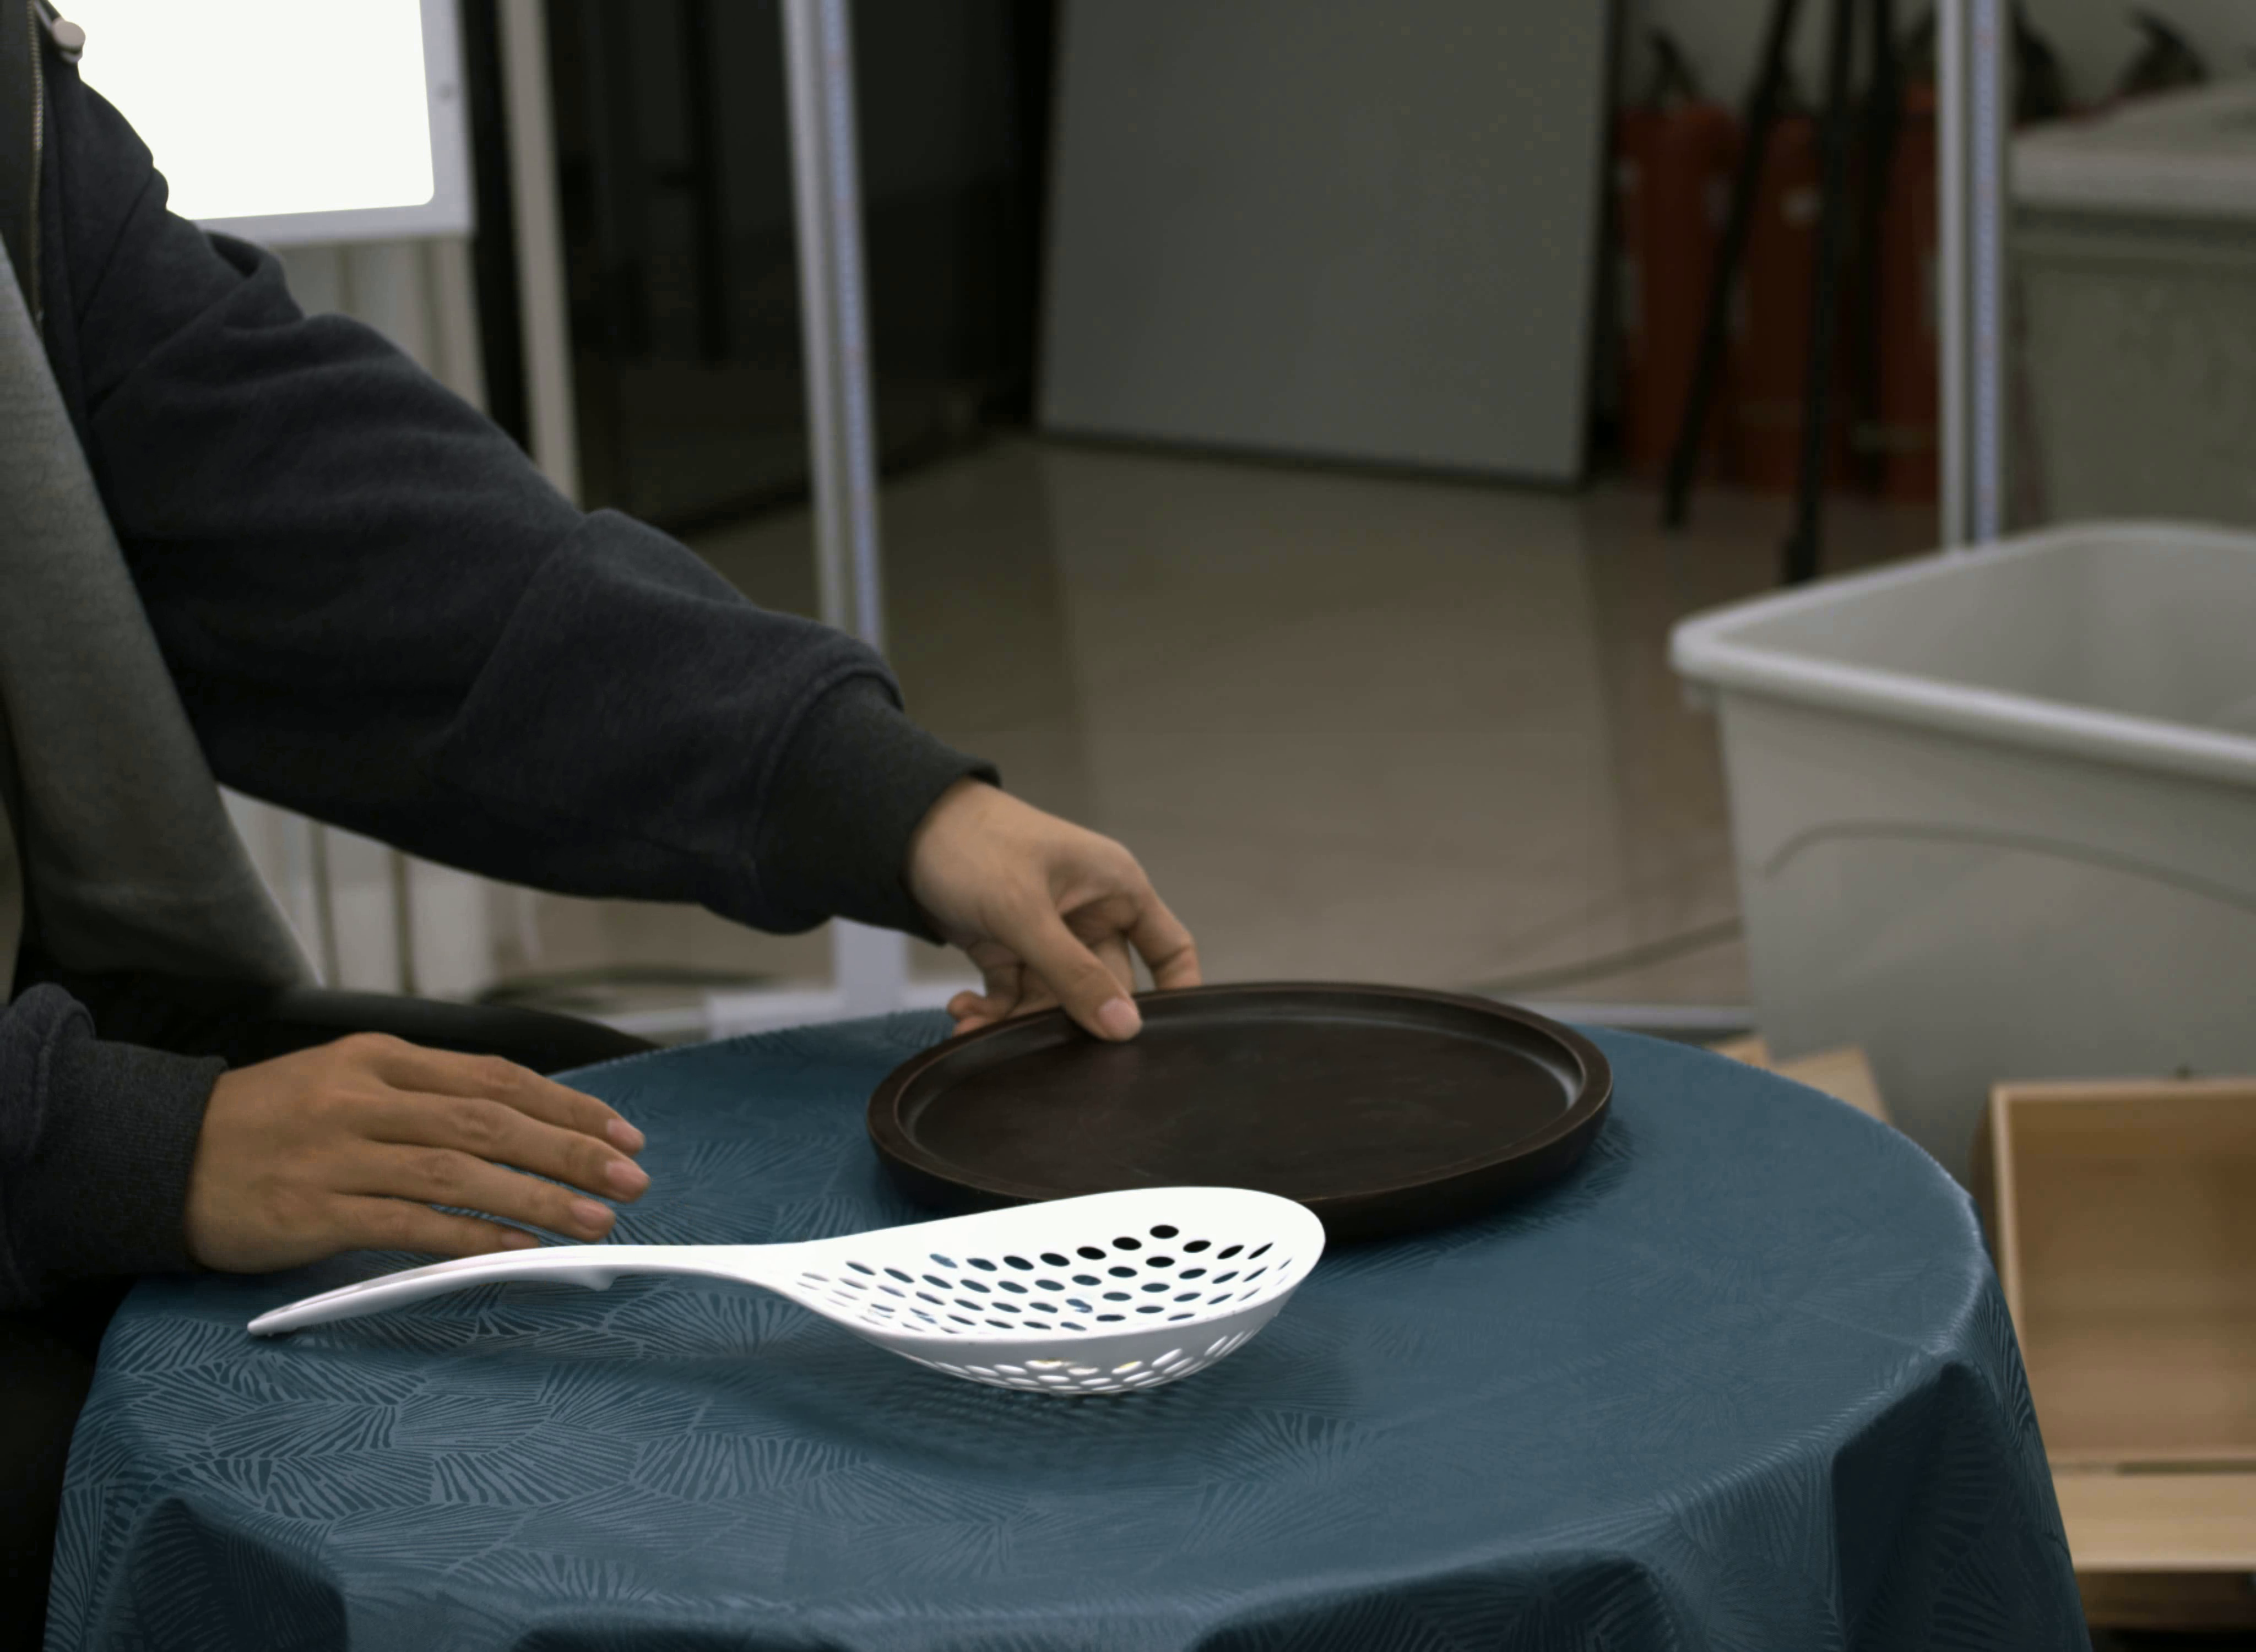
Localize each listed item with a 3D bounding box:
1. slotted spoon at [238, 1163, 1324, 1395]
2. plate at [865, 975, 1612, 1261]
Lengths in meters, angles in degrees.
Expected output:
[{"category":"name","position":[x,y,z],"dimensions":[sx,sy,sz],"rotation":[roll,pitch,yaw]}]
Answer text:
[{"category":"slotted spoon","position":[-0.109,0.142,1.626],"dimensions":[0.347,0.051,0.135],"rotation":[1,16,19]},{"category":"plate","position":[0.037,0.099,1.801],"dimensions":[0.251,0.029,0.255],"rotation":[-5,15,0]}]
